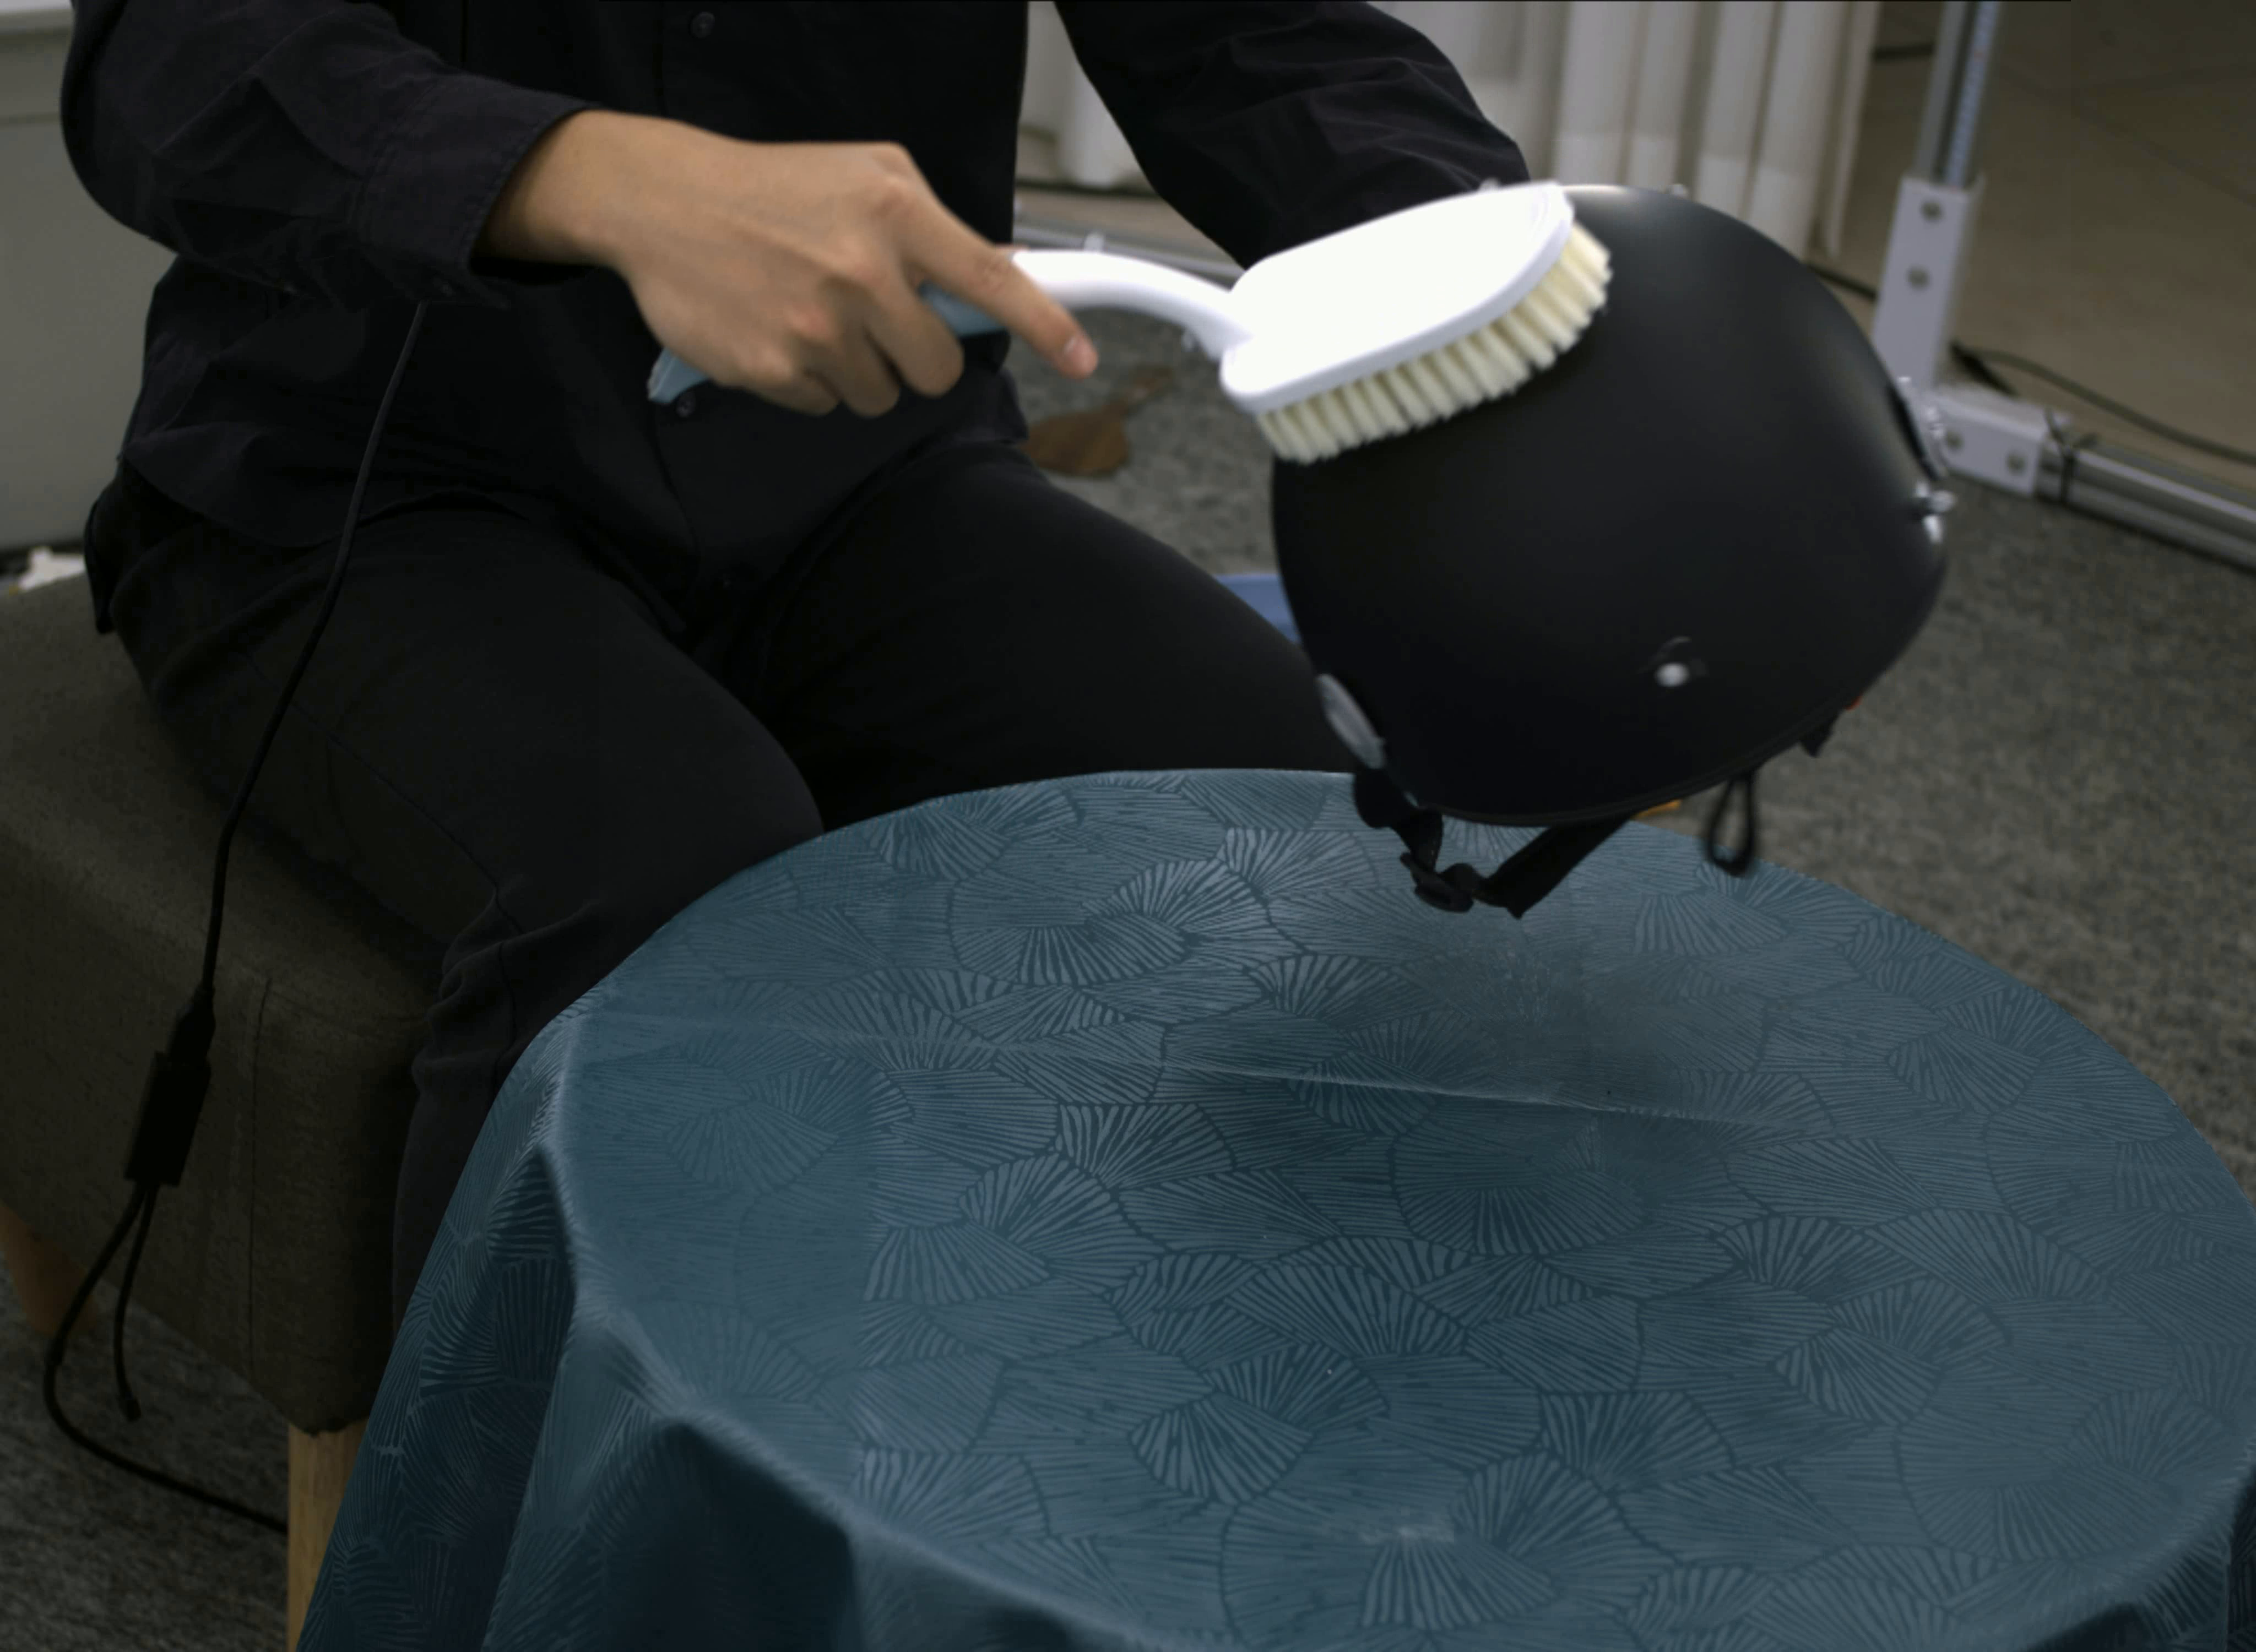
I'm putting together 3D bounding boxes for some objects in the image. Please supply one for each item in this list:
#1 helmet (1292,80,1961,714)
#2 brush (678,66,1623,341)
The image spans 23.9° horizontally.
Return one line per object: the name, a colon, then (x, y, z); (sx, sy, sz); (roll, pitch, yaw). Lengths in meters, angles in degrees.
helmet: (0.159, -0.165, 1.847); (0.230, 0.166, 0.275); (-28, 23, 5)
brush: (0.009, -0.197, 1.799); (0.325, 0.084, 0.083); (-8, 8, 15)
